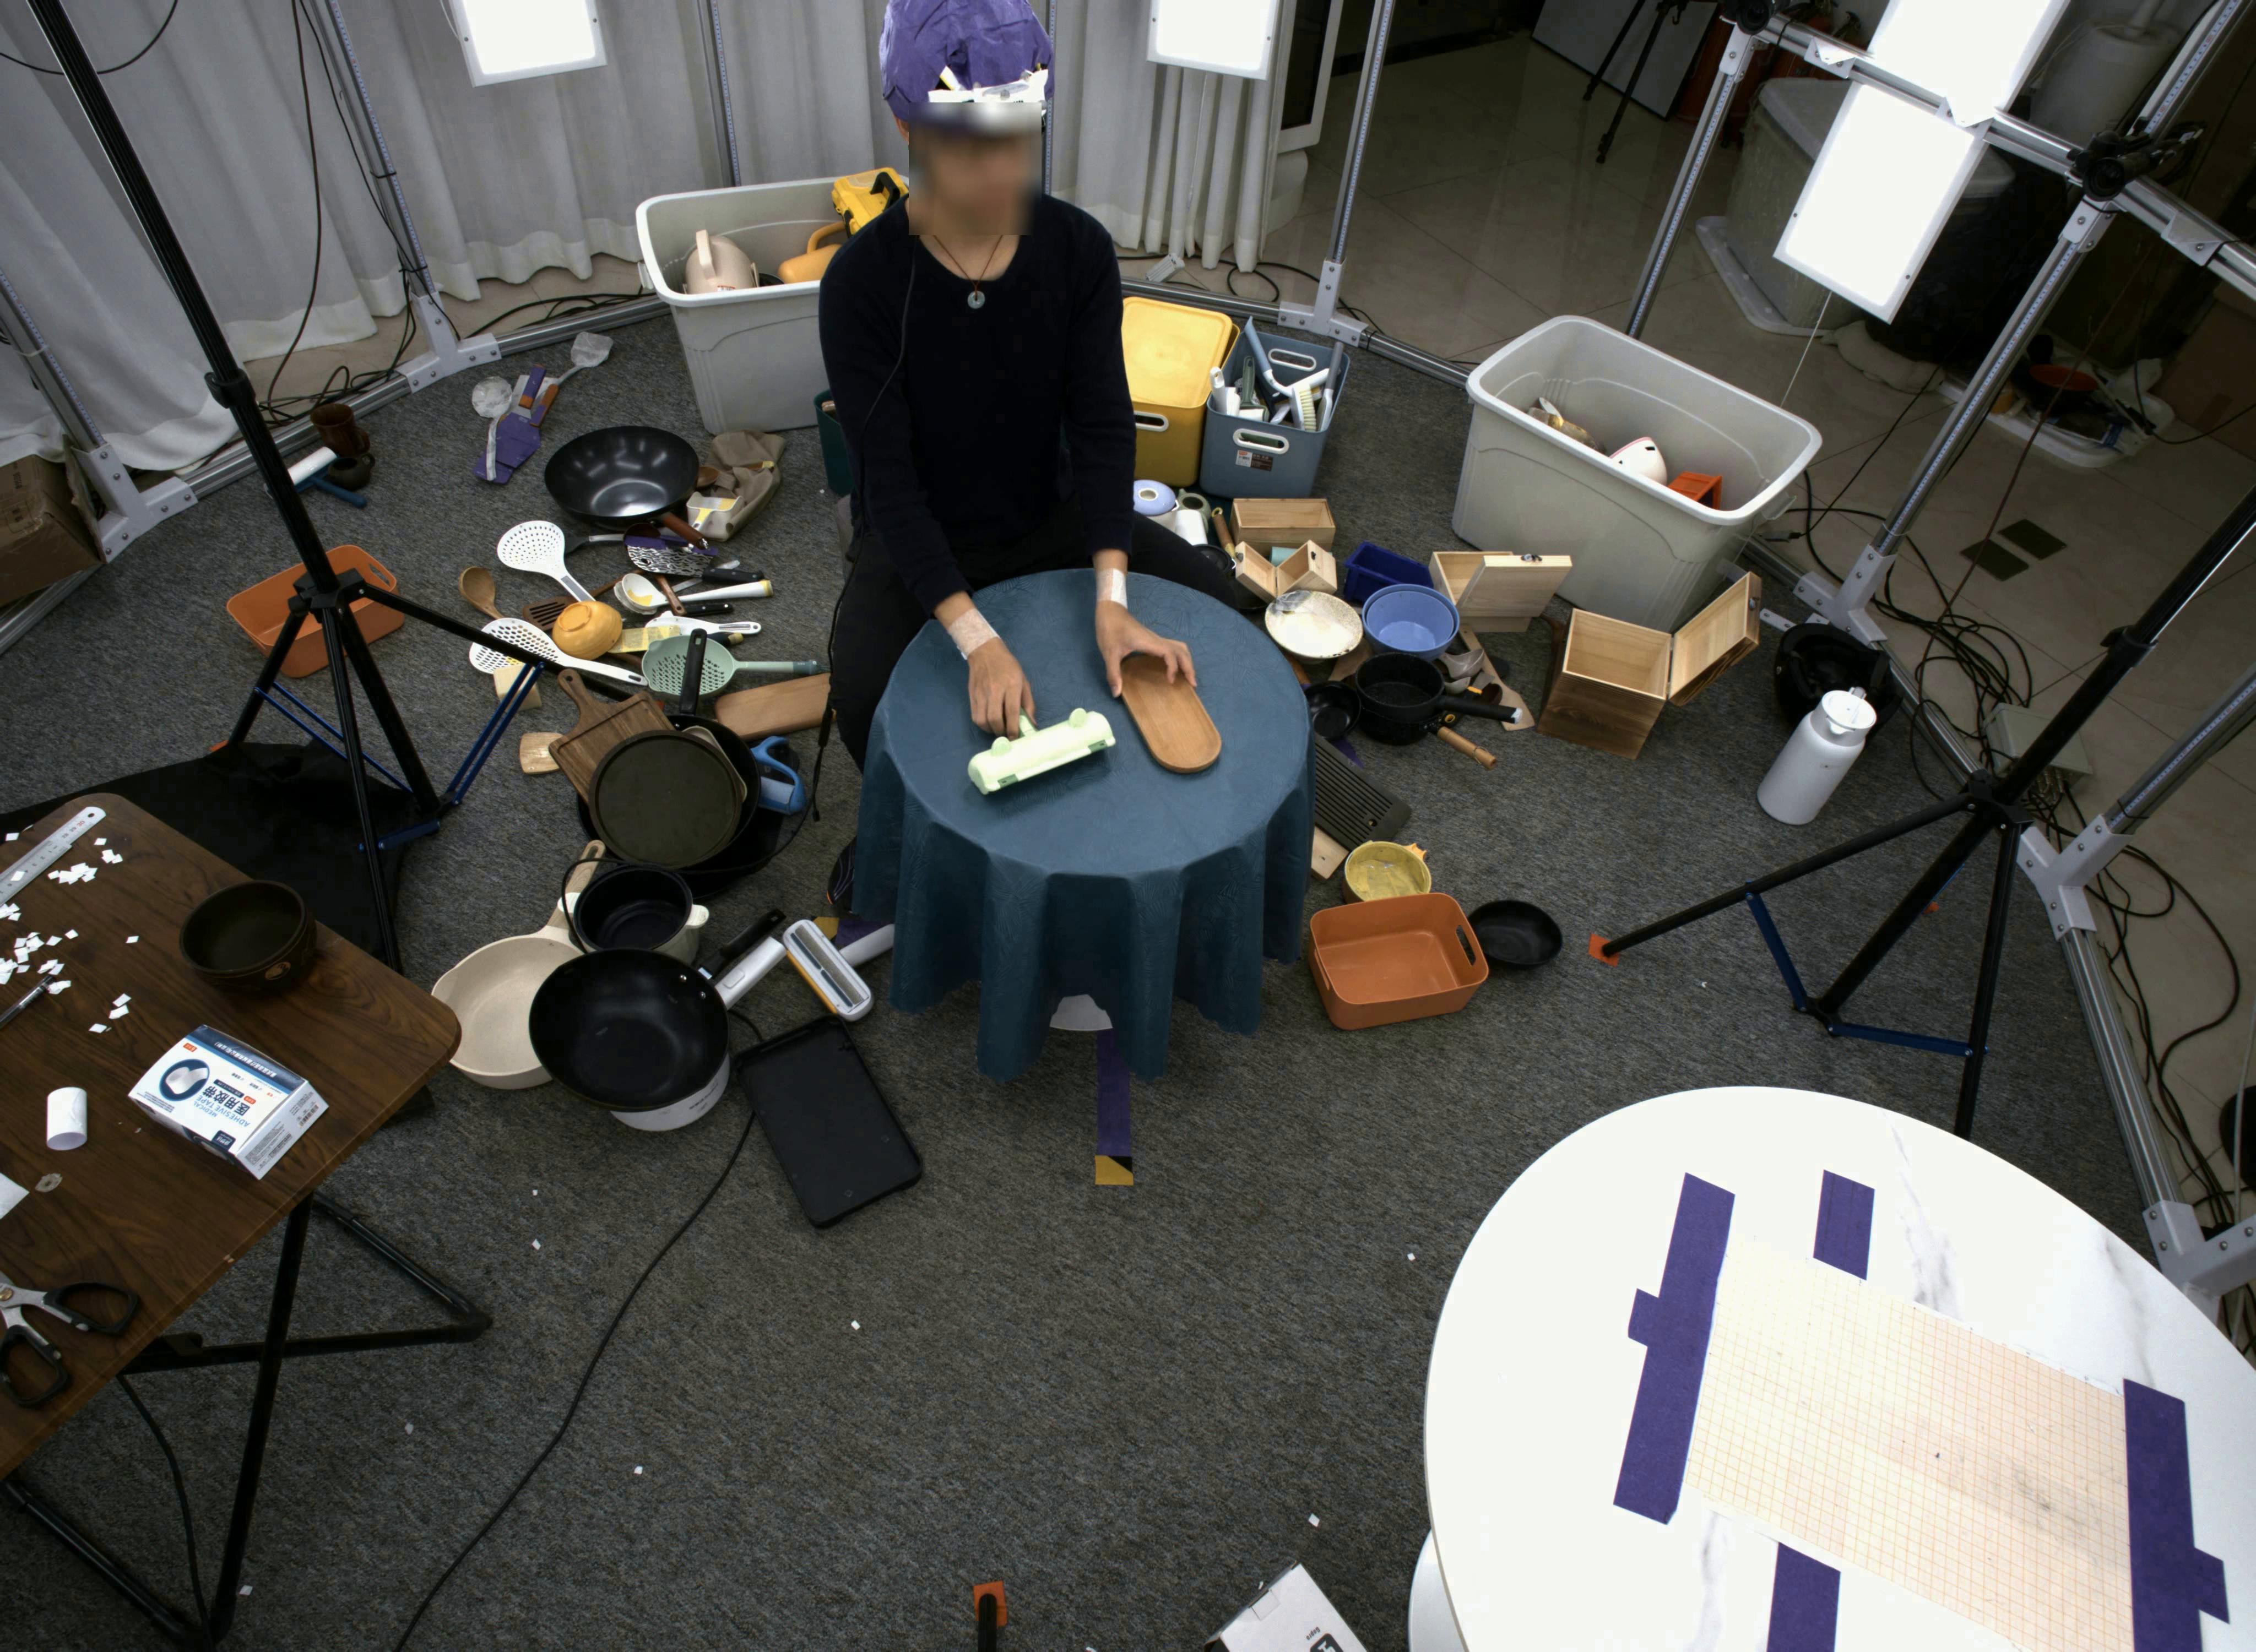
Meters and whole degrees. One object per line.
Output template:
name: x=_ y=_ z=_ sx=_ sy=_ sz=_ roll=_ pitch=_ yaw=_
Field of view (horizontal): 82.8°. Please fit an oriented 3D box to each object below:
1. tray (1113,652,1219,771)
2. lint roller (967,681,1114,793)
tray: x=0.052 y=-0.163 z=1.803 sx=0.102 sy=0.020 sz=0.237 roll=-14 pitch=50 yaw=-15
lint roller: x=-0.143 y=-0.146 z=1.726 sx=0.199 sy=0.080 sz=0.187 roll=-22 pitch=62 yaw=-23
